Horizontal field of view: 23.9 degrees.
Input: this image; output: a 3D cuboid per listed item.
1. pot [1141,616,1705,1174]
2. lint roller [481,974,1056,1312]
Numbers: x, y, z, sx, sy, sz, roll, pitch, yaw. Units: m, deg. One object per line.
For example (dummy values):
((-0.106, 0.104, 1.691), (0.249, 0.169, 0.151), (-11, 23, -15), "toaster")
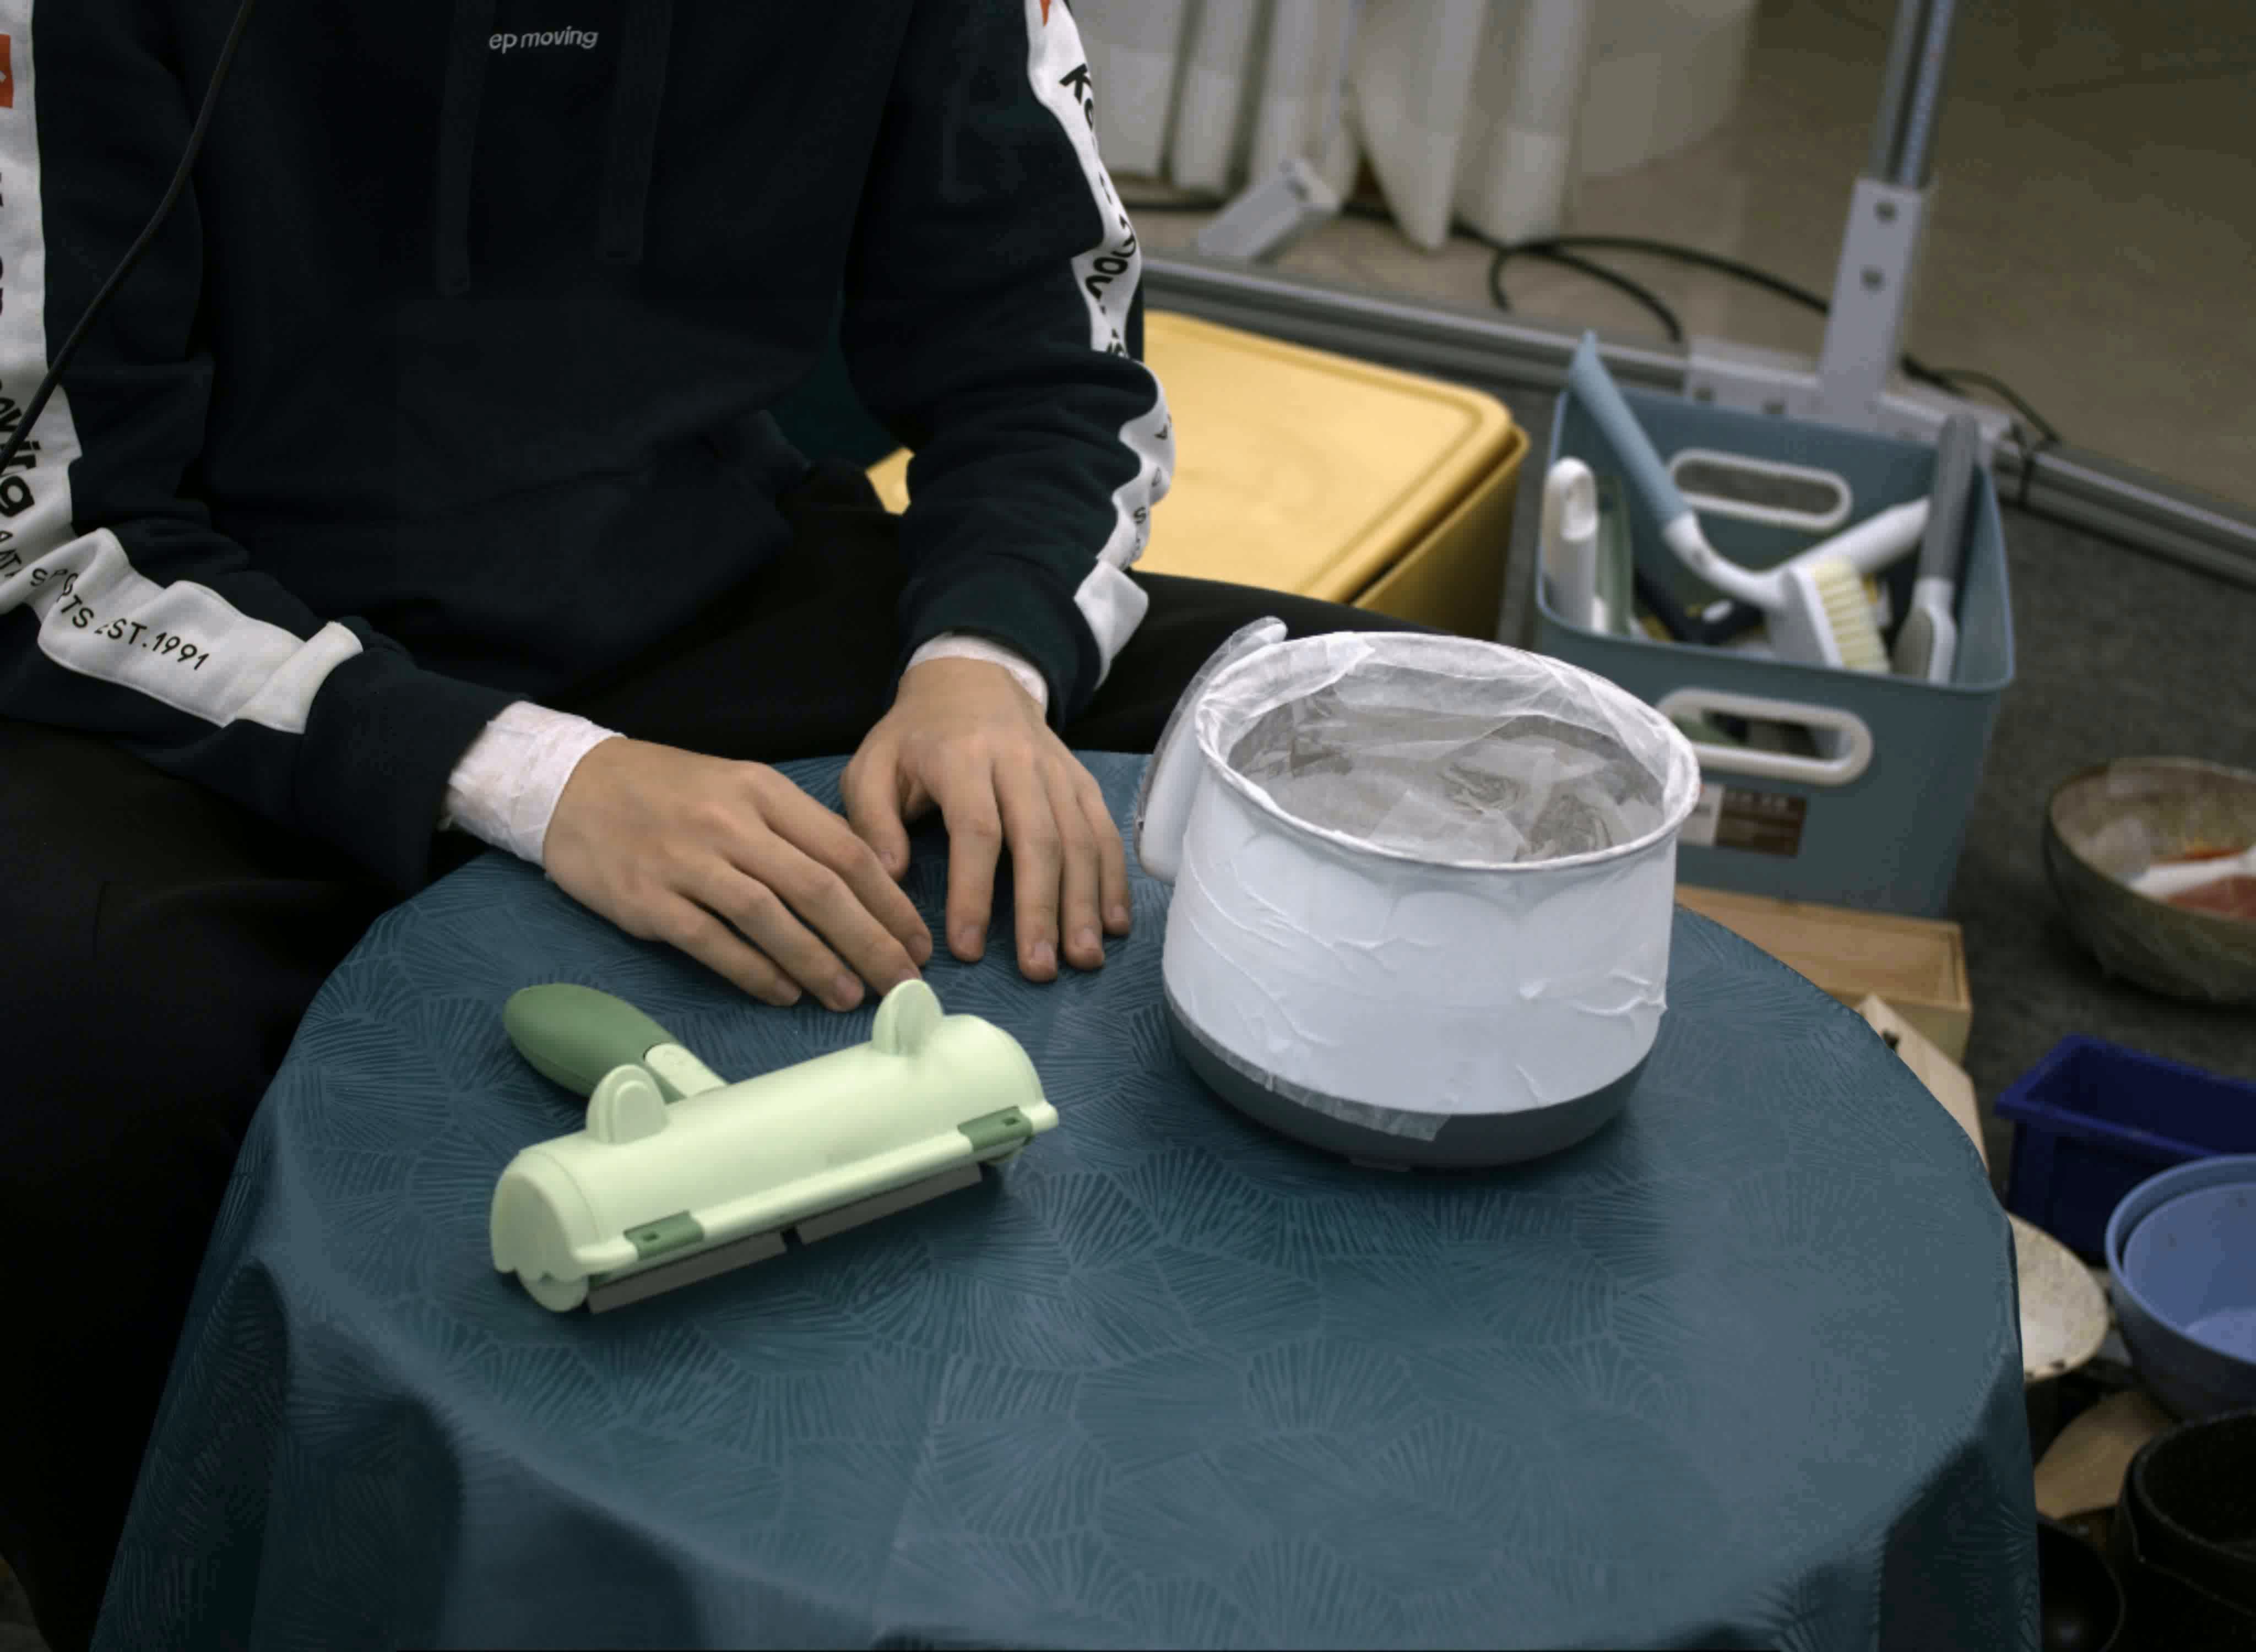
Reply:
((0.087, 0.017, 1.878), (0.177, 0.136, 0.236), (-14, 33, -36), "pot")
((-0.151, 0.076, 1.775), (0.197, 0.082, 0.185), (-16, 39, -37), "lint roller")
